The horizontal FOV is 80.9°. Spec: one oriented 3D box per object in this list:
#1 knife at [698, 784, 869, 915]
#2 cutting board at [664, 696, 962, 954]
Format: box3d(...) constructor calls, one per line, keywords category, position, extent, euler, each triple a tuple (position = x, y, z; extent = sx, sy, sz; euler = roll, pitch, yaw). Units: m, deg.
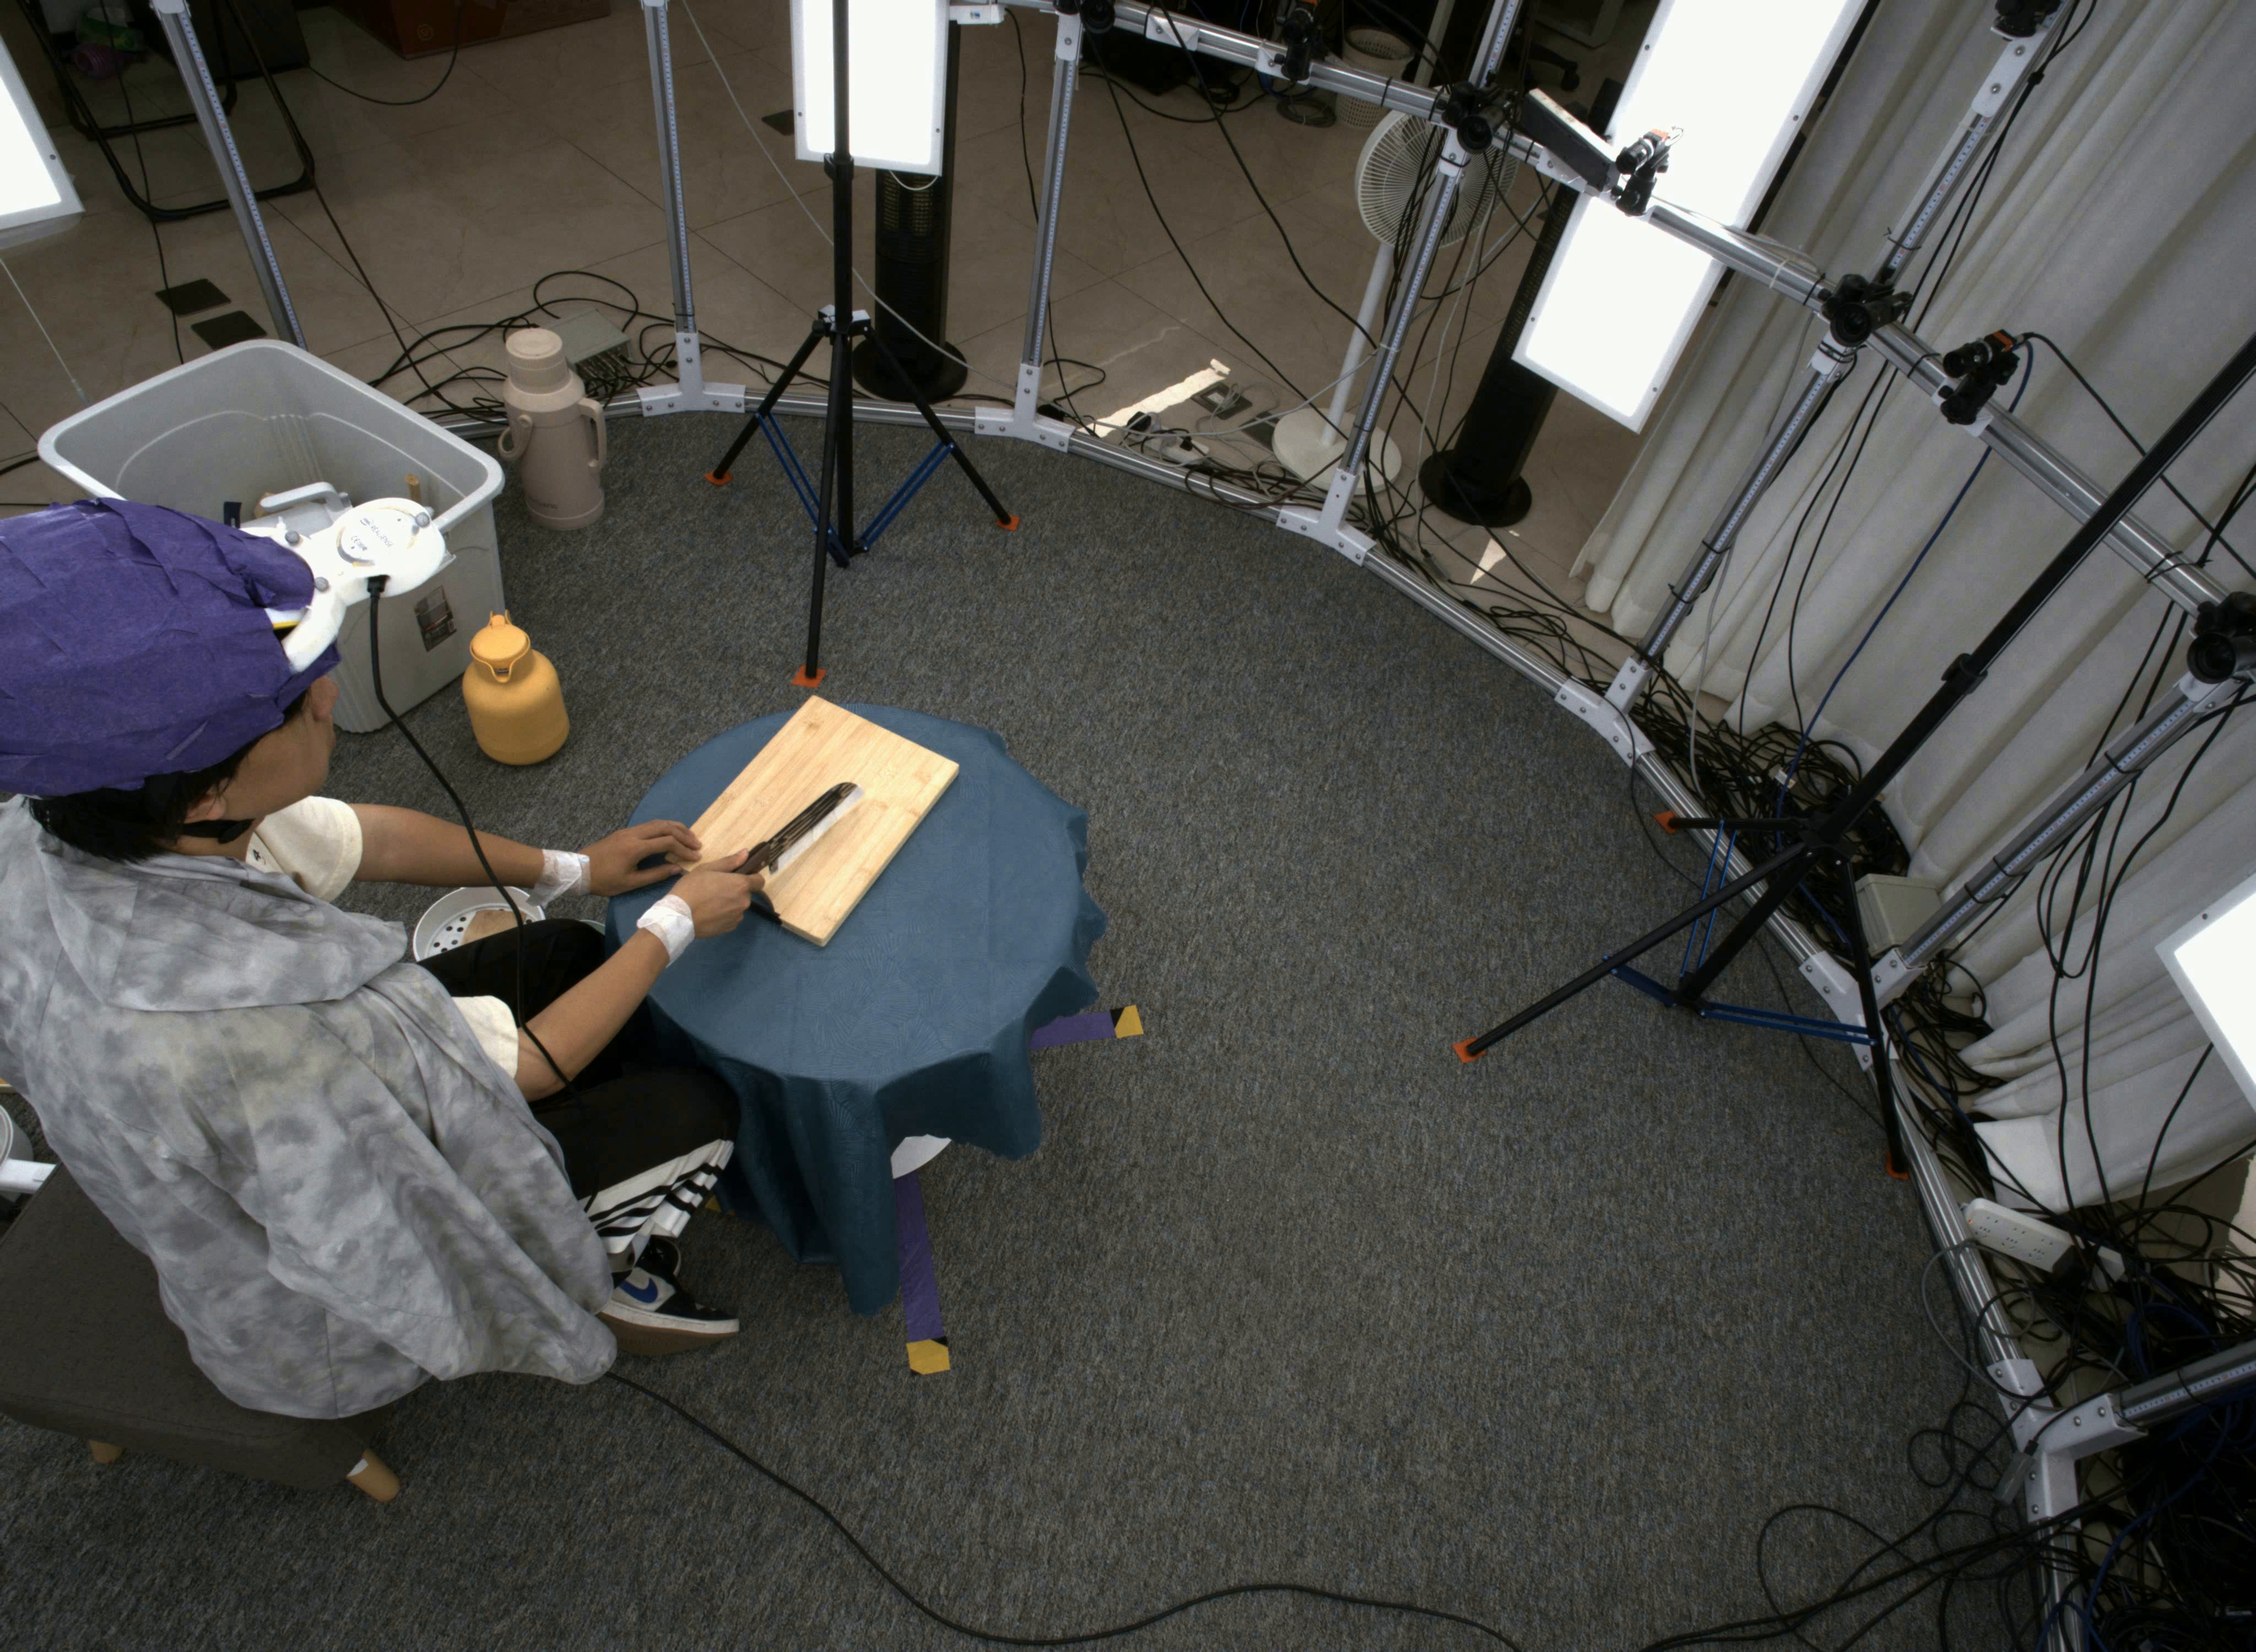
box3d(category="knife", position=(-0.426, 0.028, 1.632), extent=(0.023, 0.070, 0.299), euler=(27, 49, 19))
box3d(category="cutting board", position=(-0.410, -0.013, 1.729), extent=(0.247, 0.024, 0.346), euler=(26, 52, 6))
